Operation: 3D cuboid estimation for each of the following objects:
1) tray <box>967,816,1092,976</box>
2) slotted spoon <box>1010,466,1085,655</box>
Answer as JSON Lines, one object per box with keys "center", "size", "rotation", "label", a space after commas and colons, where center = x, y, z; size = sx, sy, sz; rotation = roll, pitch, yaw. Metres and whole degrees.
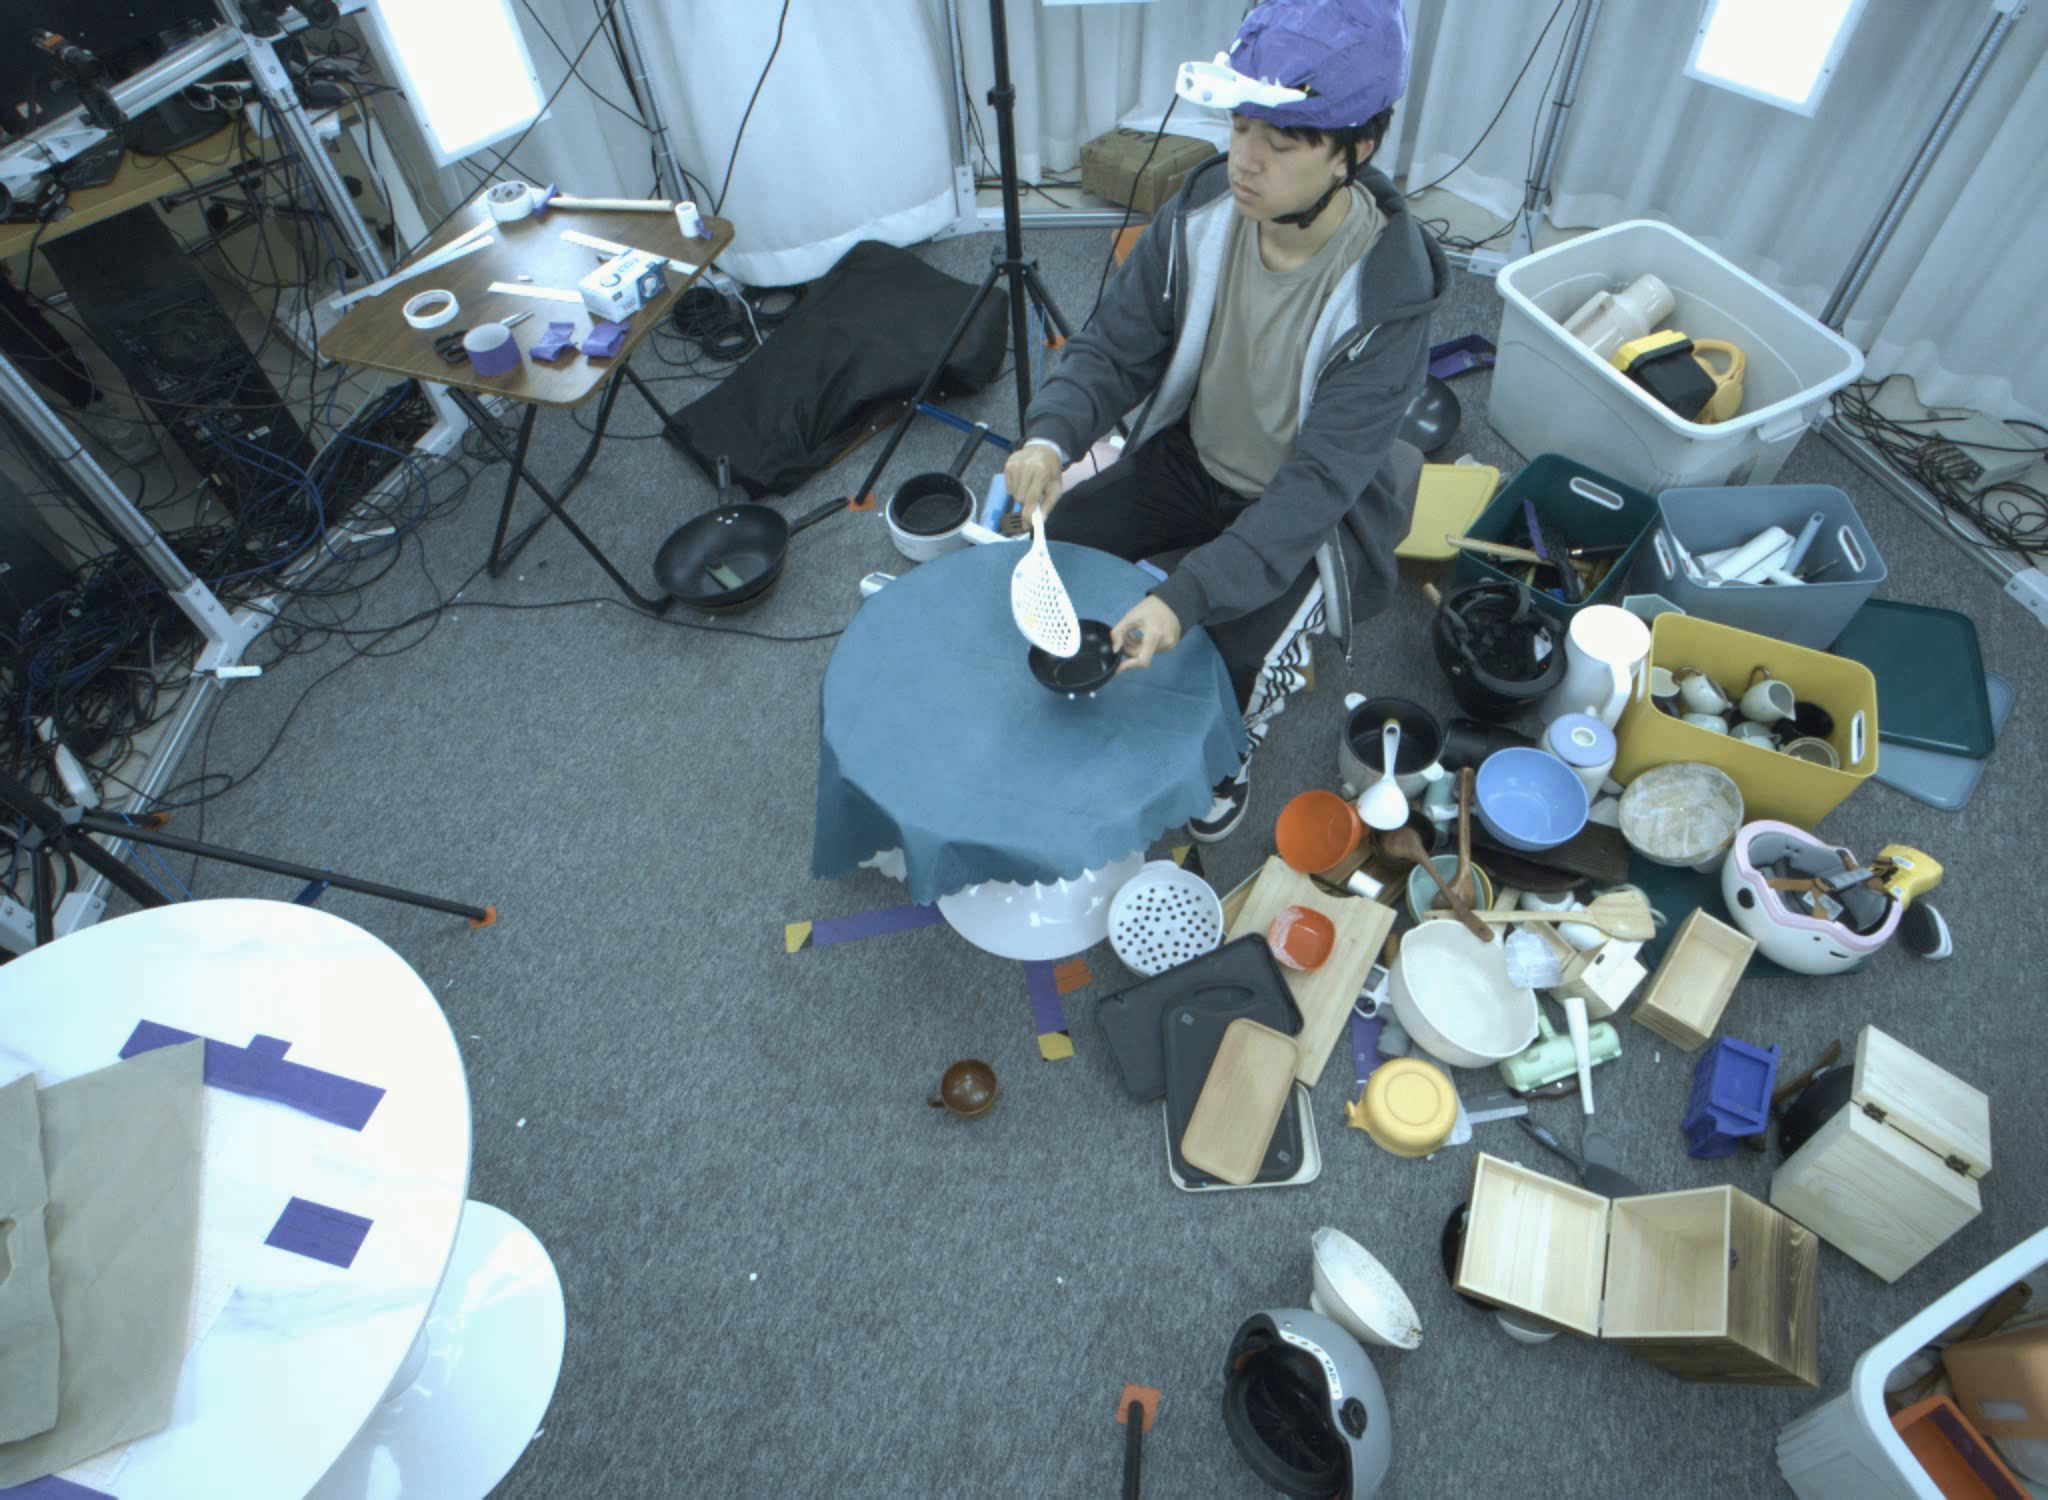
{"center": [0.007, 0.266, 2.278], "size": [0.192, 0.028, 0.296], "rotation": [-9, 56, -4], "label": "tray"}
{"center": [0.013, -0.284, 1.783], "size": [0.140, 0.049, 0.344], "rotation": [19, 56, -40], "label": "slotted spoon"}
